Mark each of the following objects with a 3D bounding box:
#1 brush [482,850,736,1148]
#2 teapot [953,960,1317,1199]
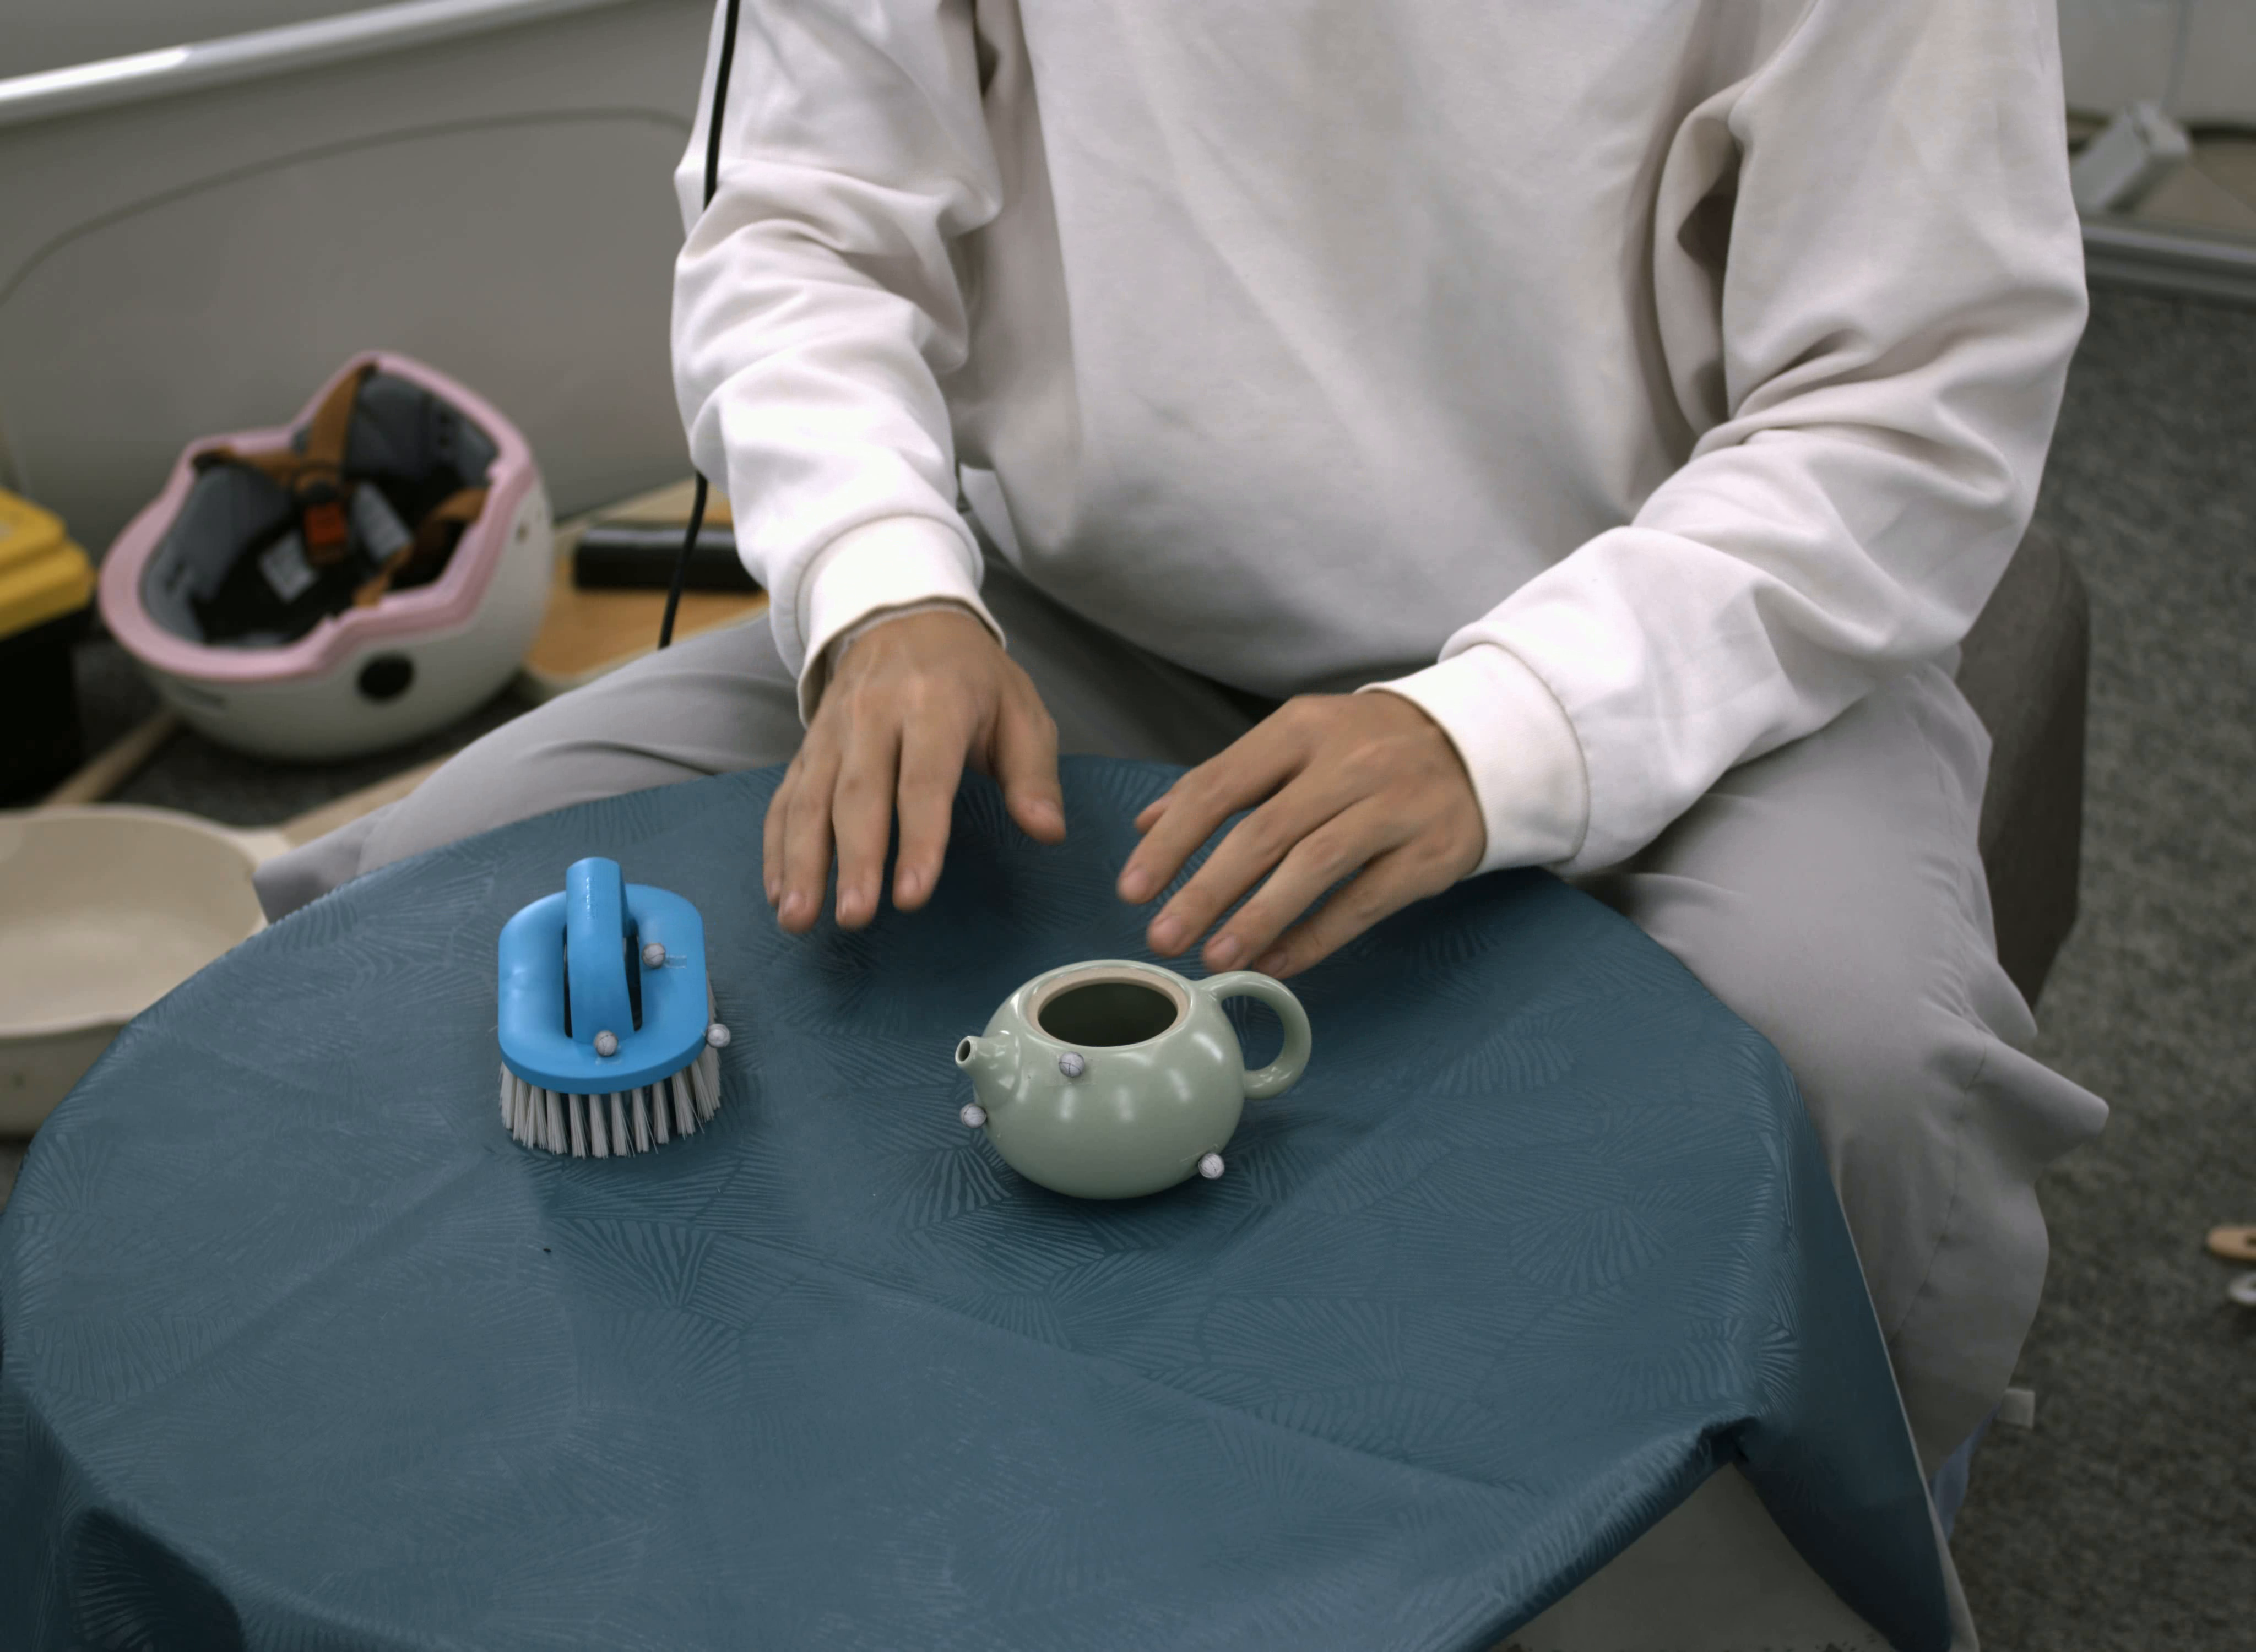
[{"bbox_3d":[-0.182,0.051,1.946,0.084,0.063,0.144,-9,27,0],"label":"brush"},{"bbox_3d":[0.003,0.084,1.875,0.129,0.060,0.092,-10,26,-18],"label":"teapot"}]
